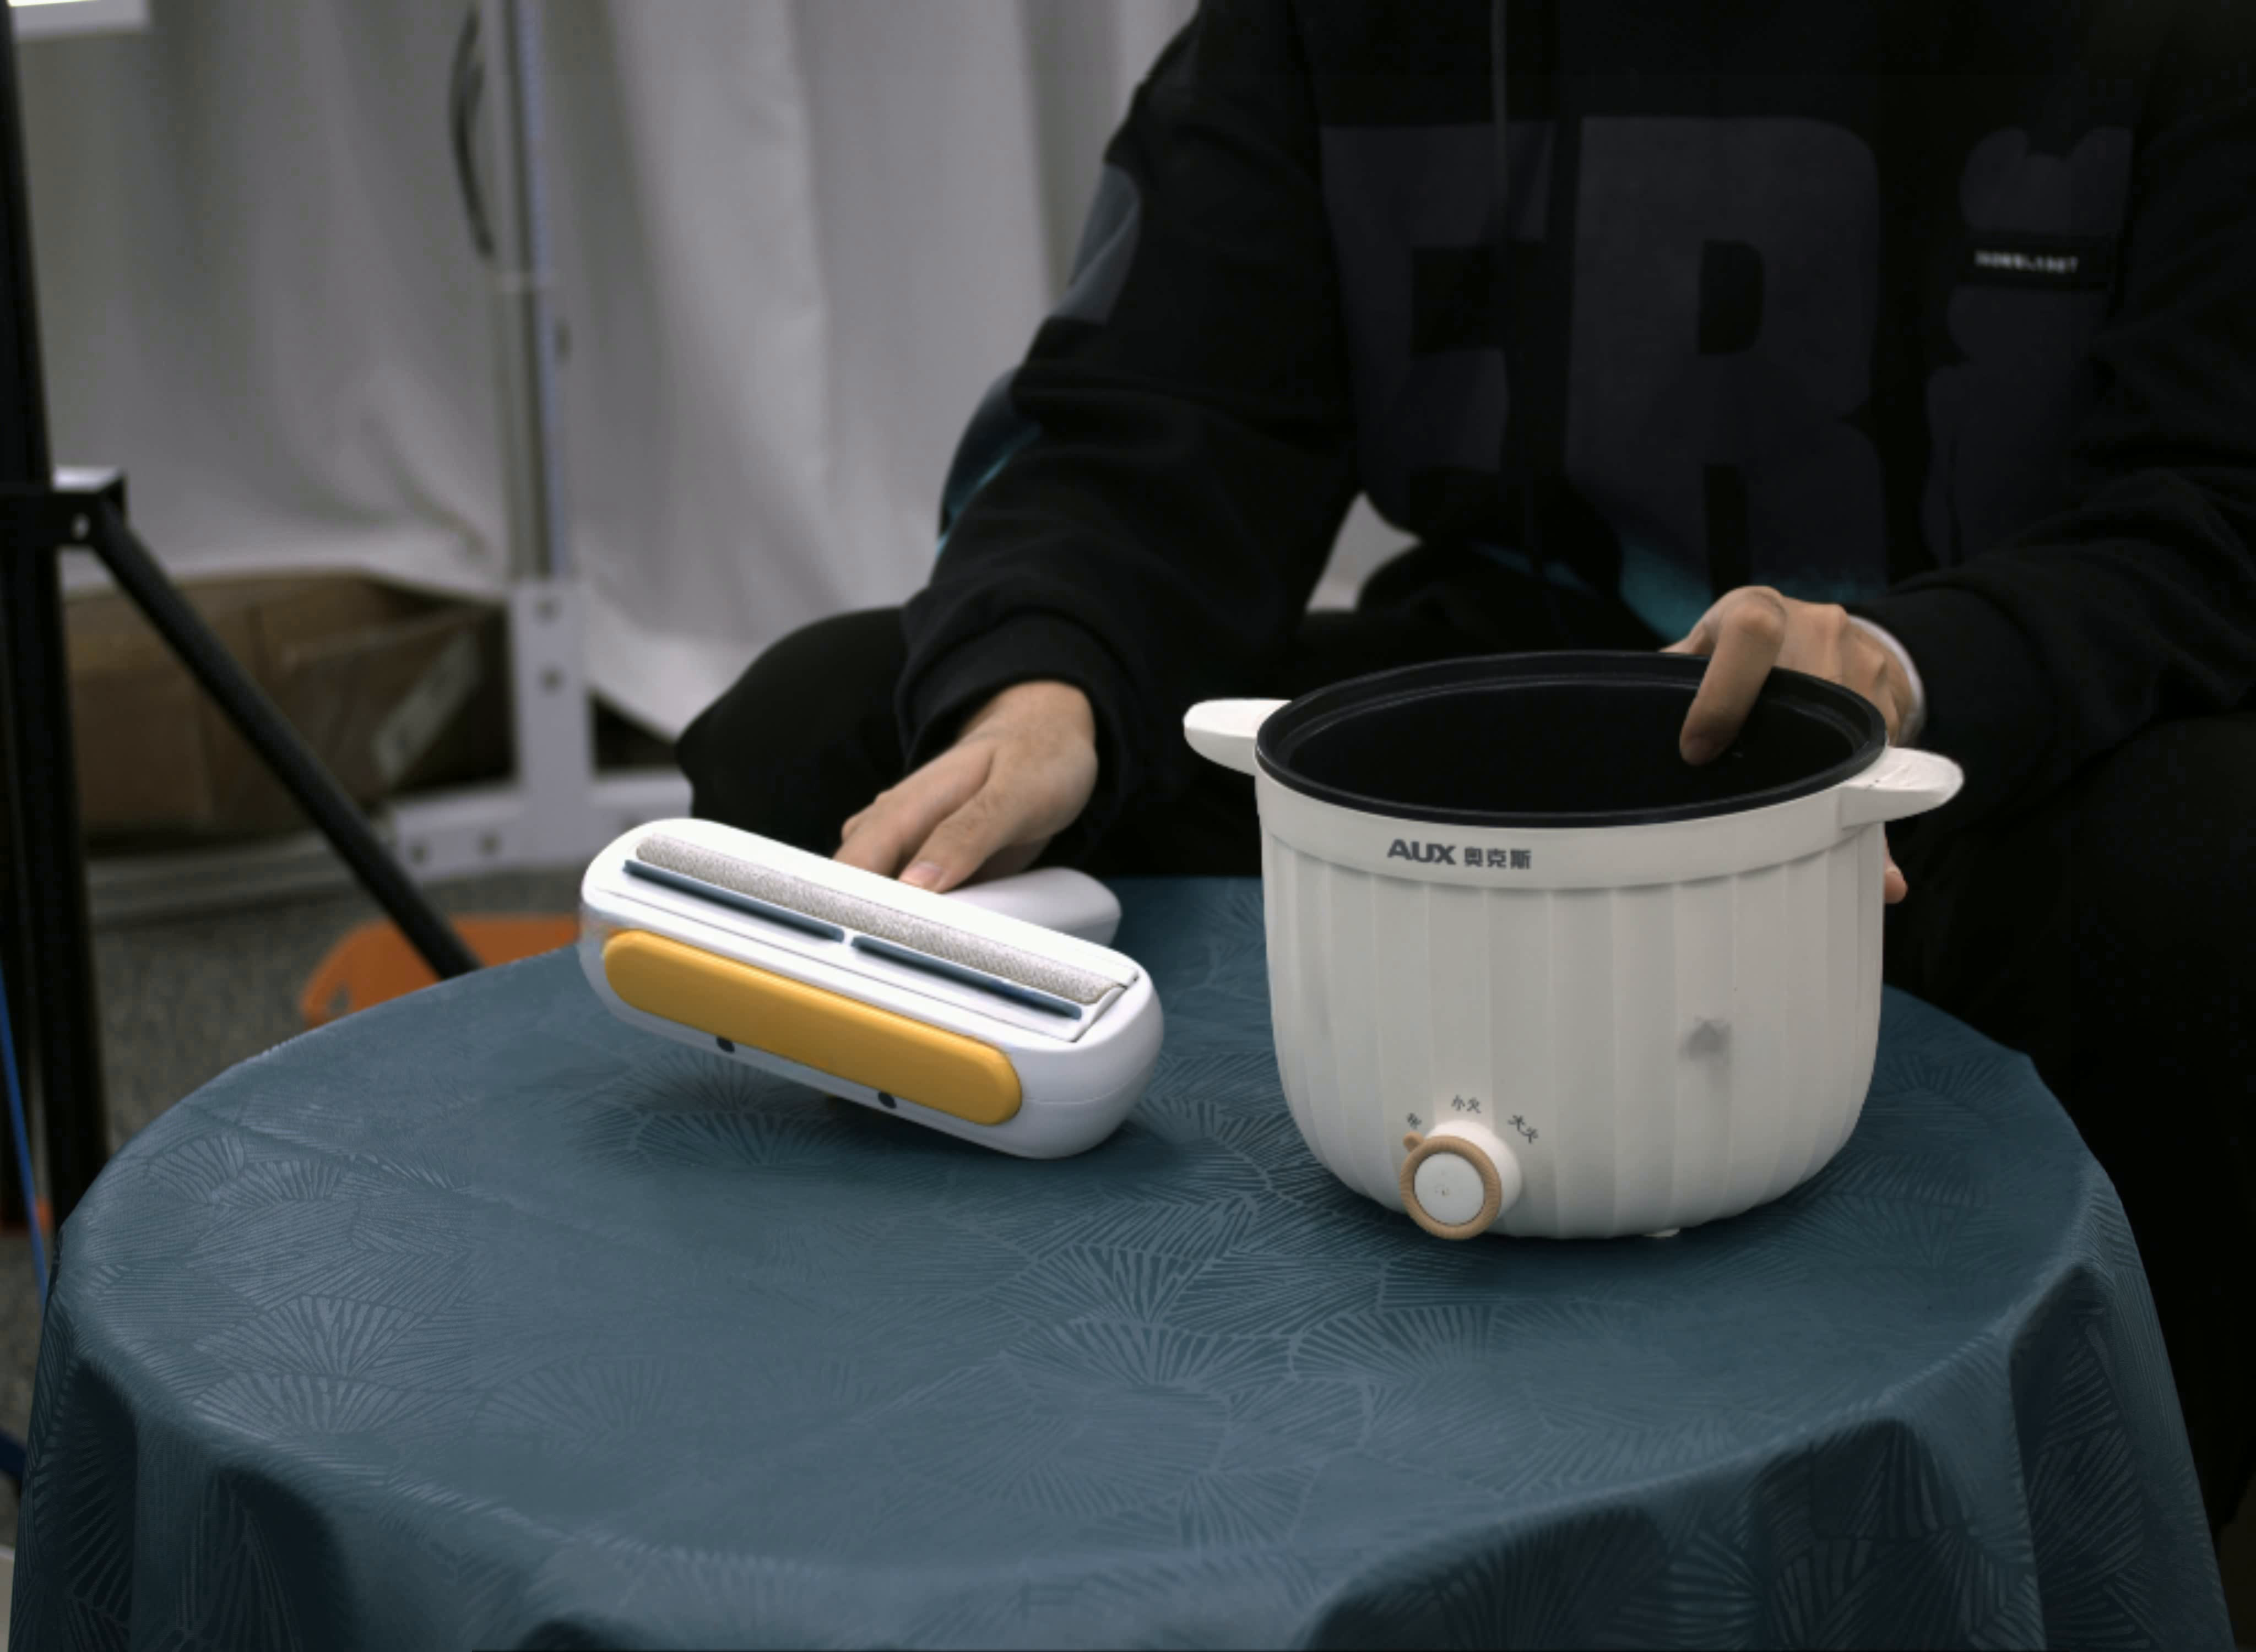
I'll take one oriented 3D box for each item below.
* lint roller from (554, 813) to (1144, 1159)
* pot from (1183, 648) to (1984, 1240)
[{"bbox_3d":[-0.057,0.036,1.680,0.196,0.074,0.189,14,26,30],"label":"lint roller"},{"bbox_3d":[0.128,0.037,1.529,0.244,0.143,0.187,4,14,26],"label":"pot"}]
